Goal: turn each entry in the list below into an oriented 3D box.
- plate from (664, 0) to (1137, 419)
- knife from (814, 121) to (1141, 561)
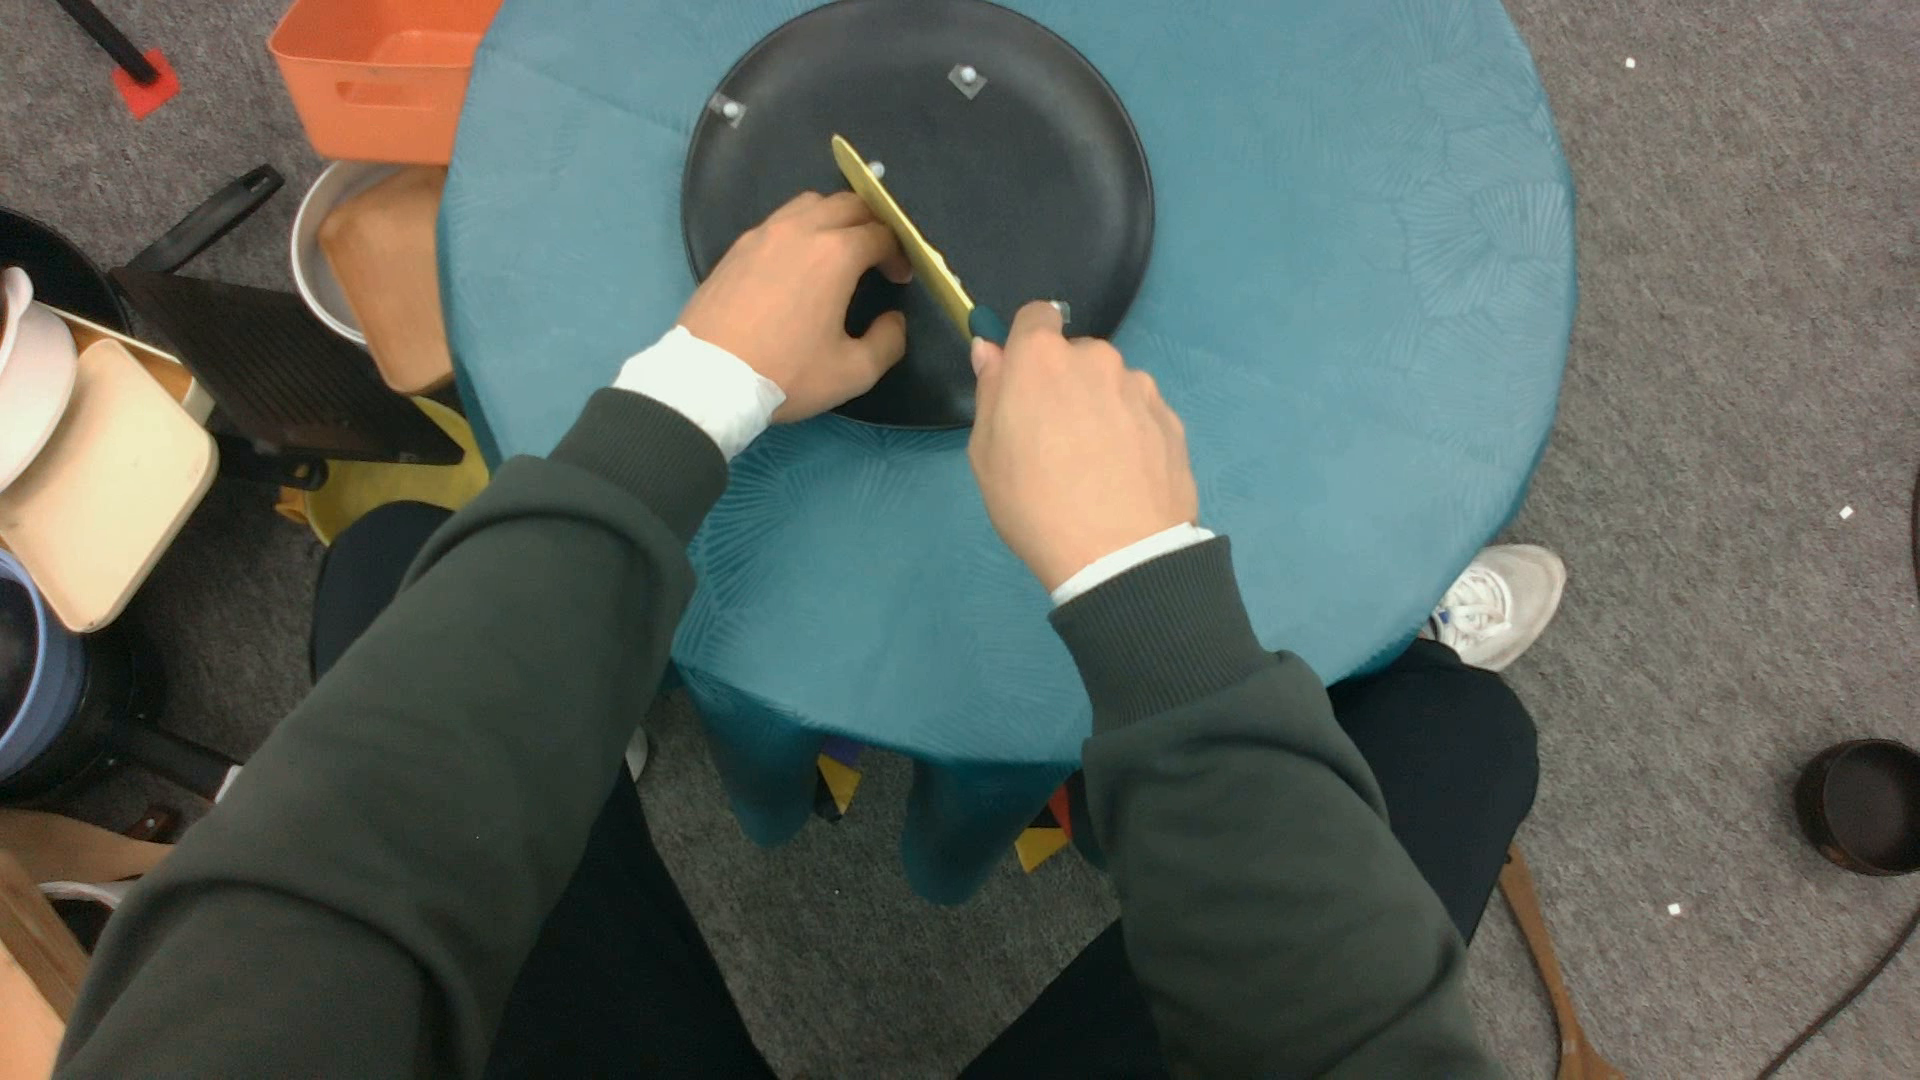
[{"bbox_3d":[-0.029,-0.177,0.715,0.244,0.023,0.245,1,76,-4],"label":"plate"},{"bbox_3d":[-0.001,-0.099,0.629,0.027,0.081,0.290,-33,62,0],"label":"knife"}]
